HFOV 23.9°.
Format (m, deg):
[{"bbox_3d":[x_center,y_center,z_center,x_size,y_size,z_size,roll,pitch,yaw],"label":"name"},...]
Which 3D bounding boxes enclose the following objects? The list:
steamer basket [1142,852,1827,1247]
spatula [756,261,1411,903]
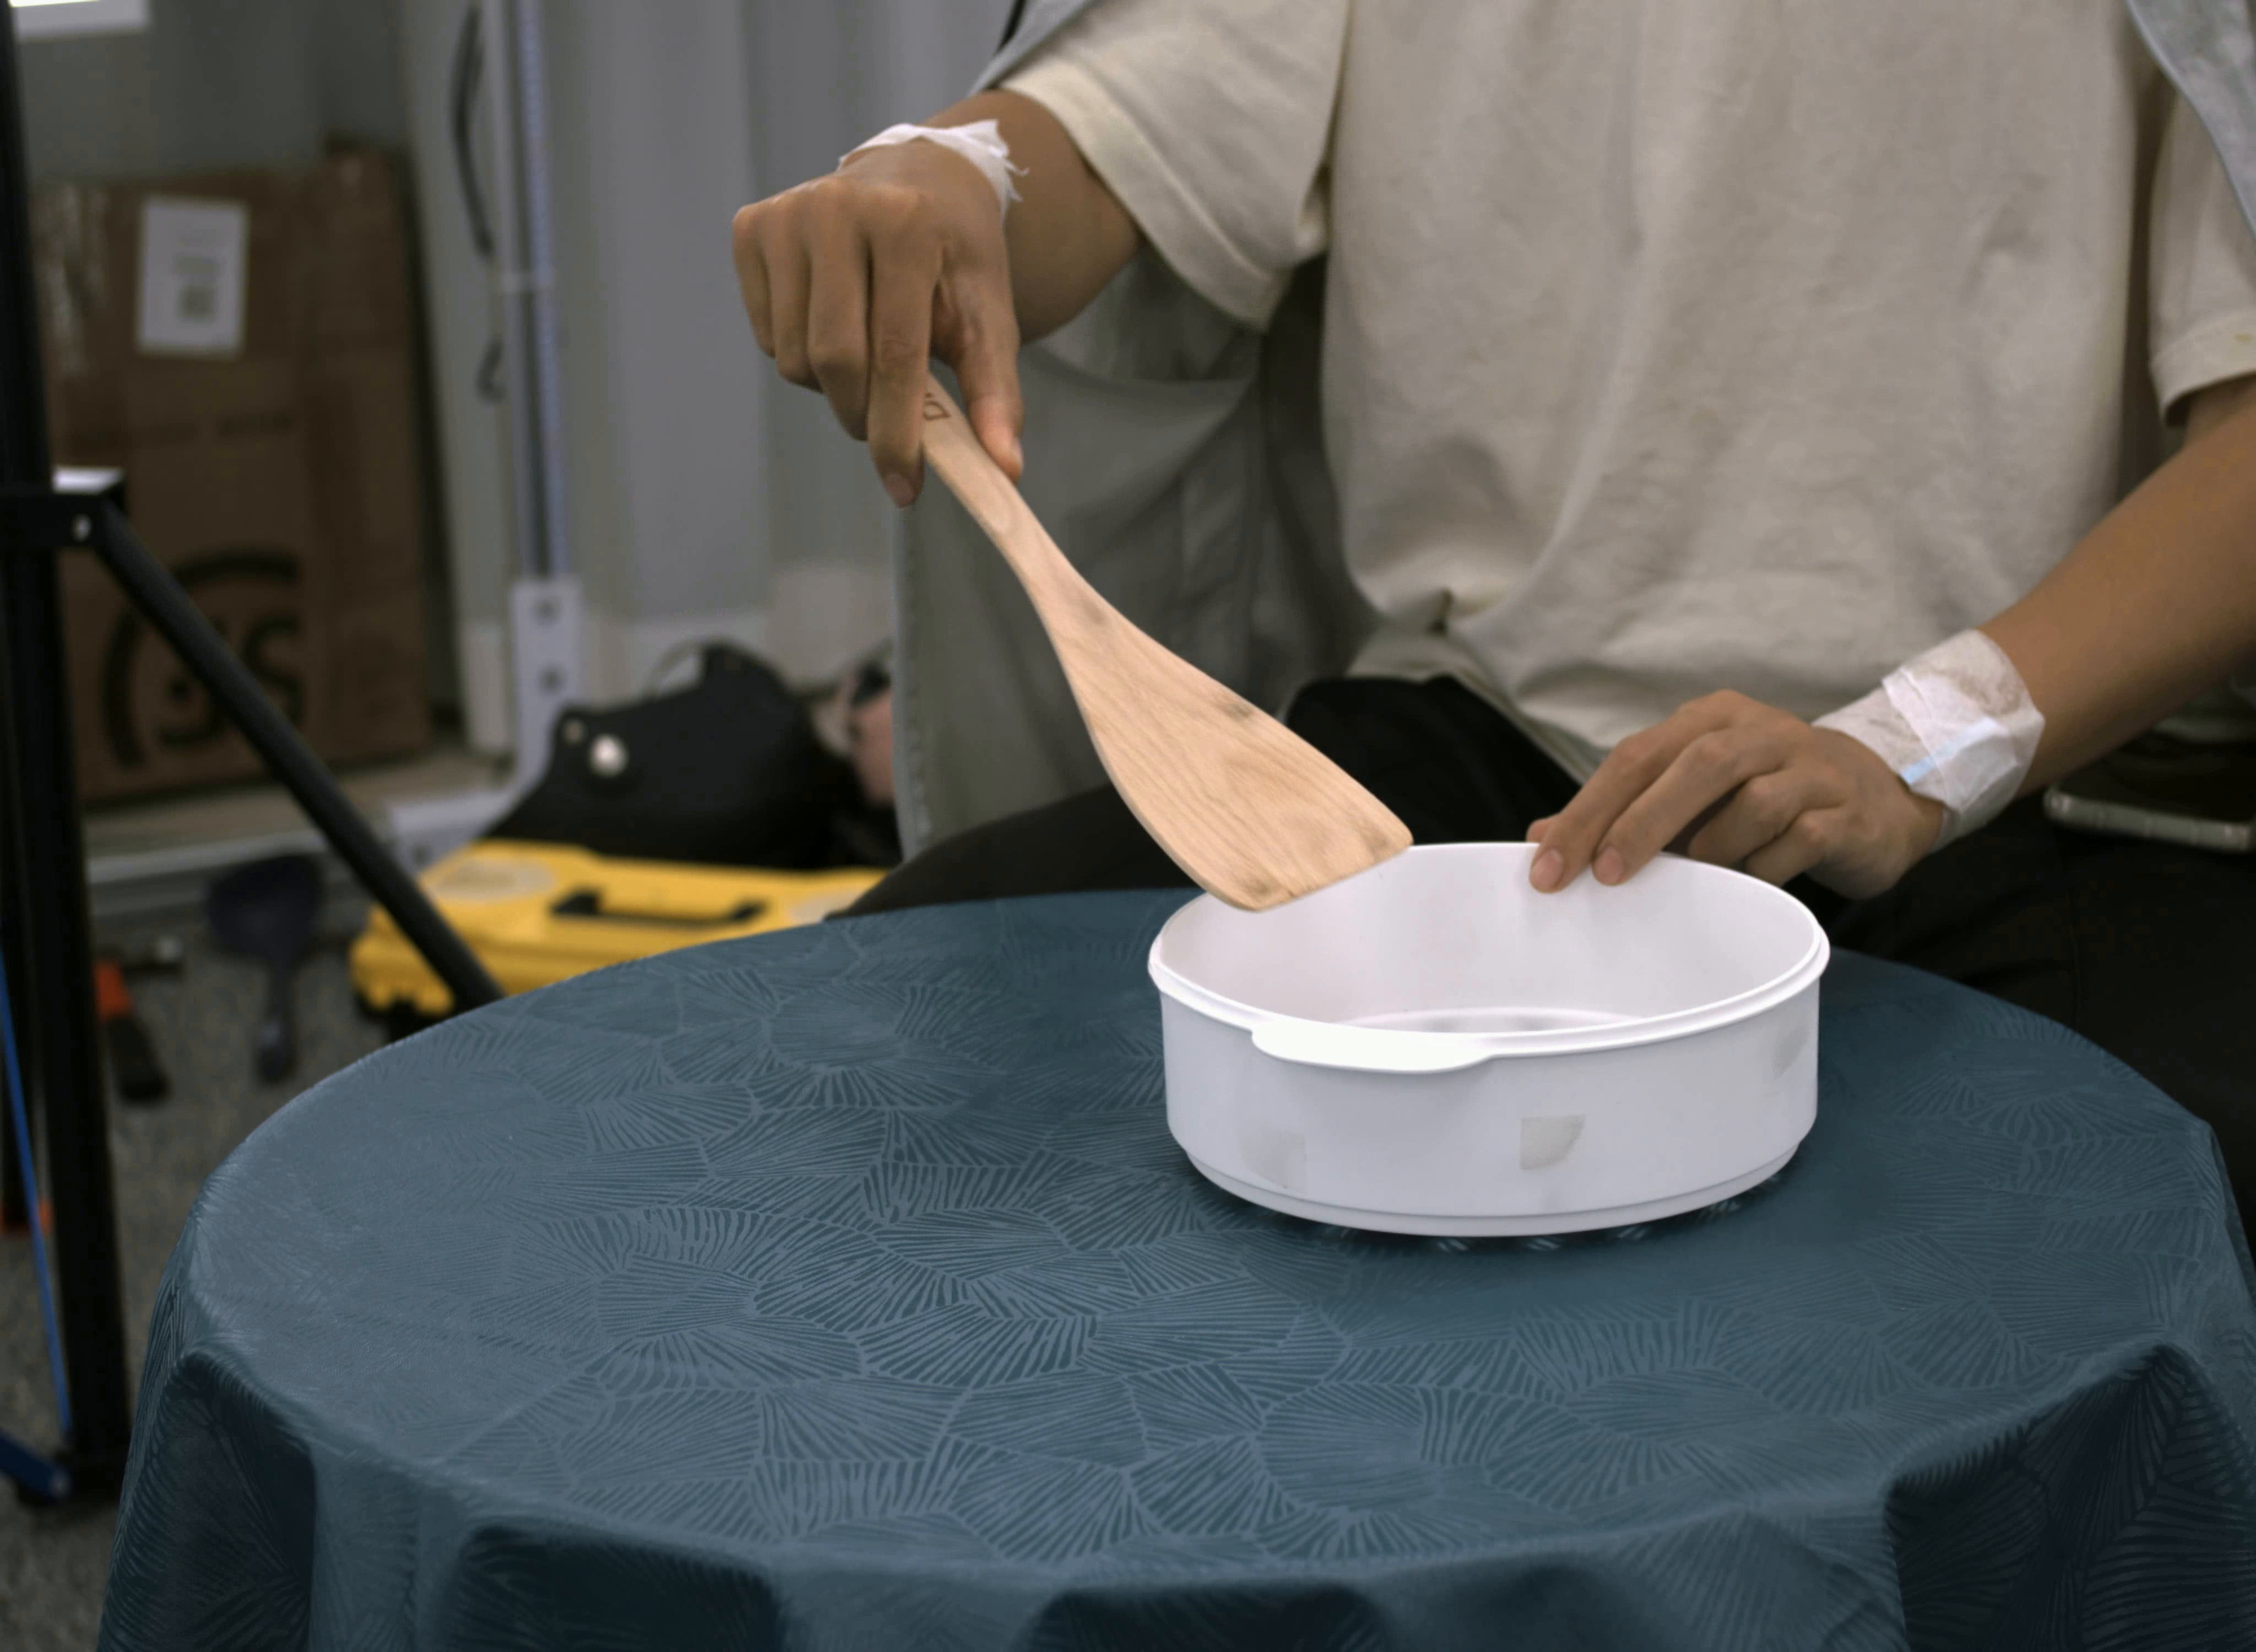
[{"bbox_3d":[0.105,0.066,1.568,0.205,0.069,0.227,6,17,25],"label":"steamer basket"},{"bbox_3d":[-0.026,-0.082,1.650,0.078,0.016,0.334,-12,46,-34],"label":"spatula"}]
